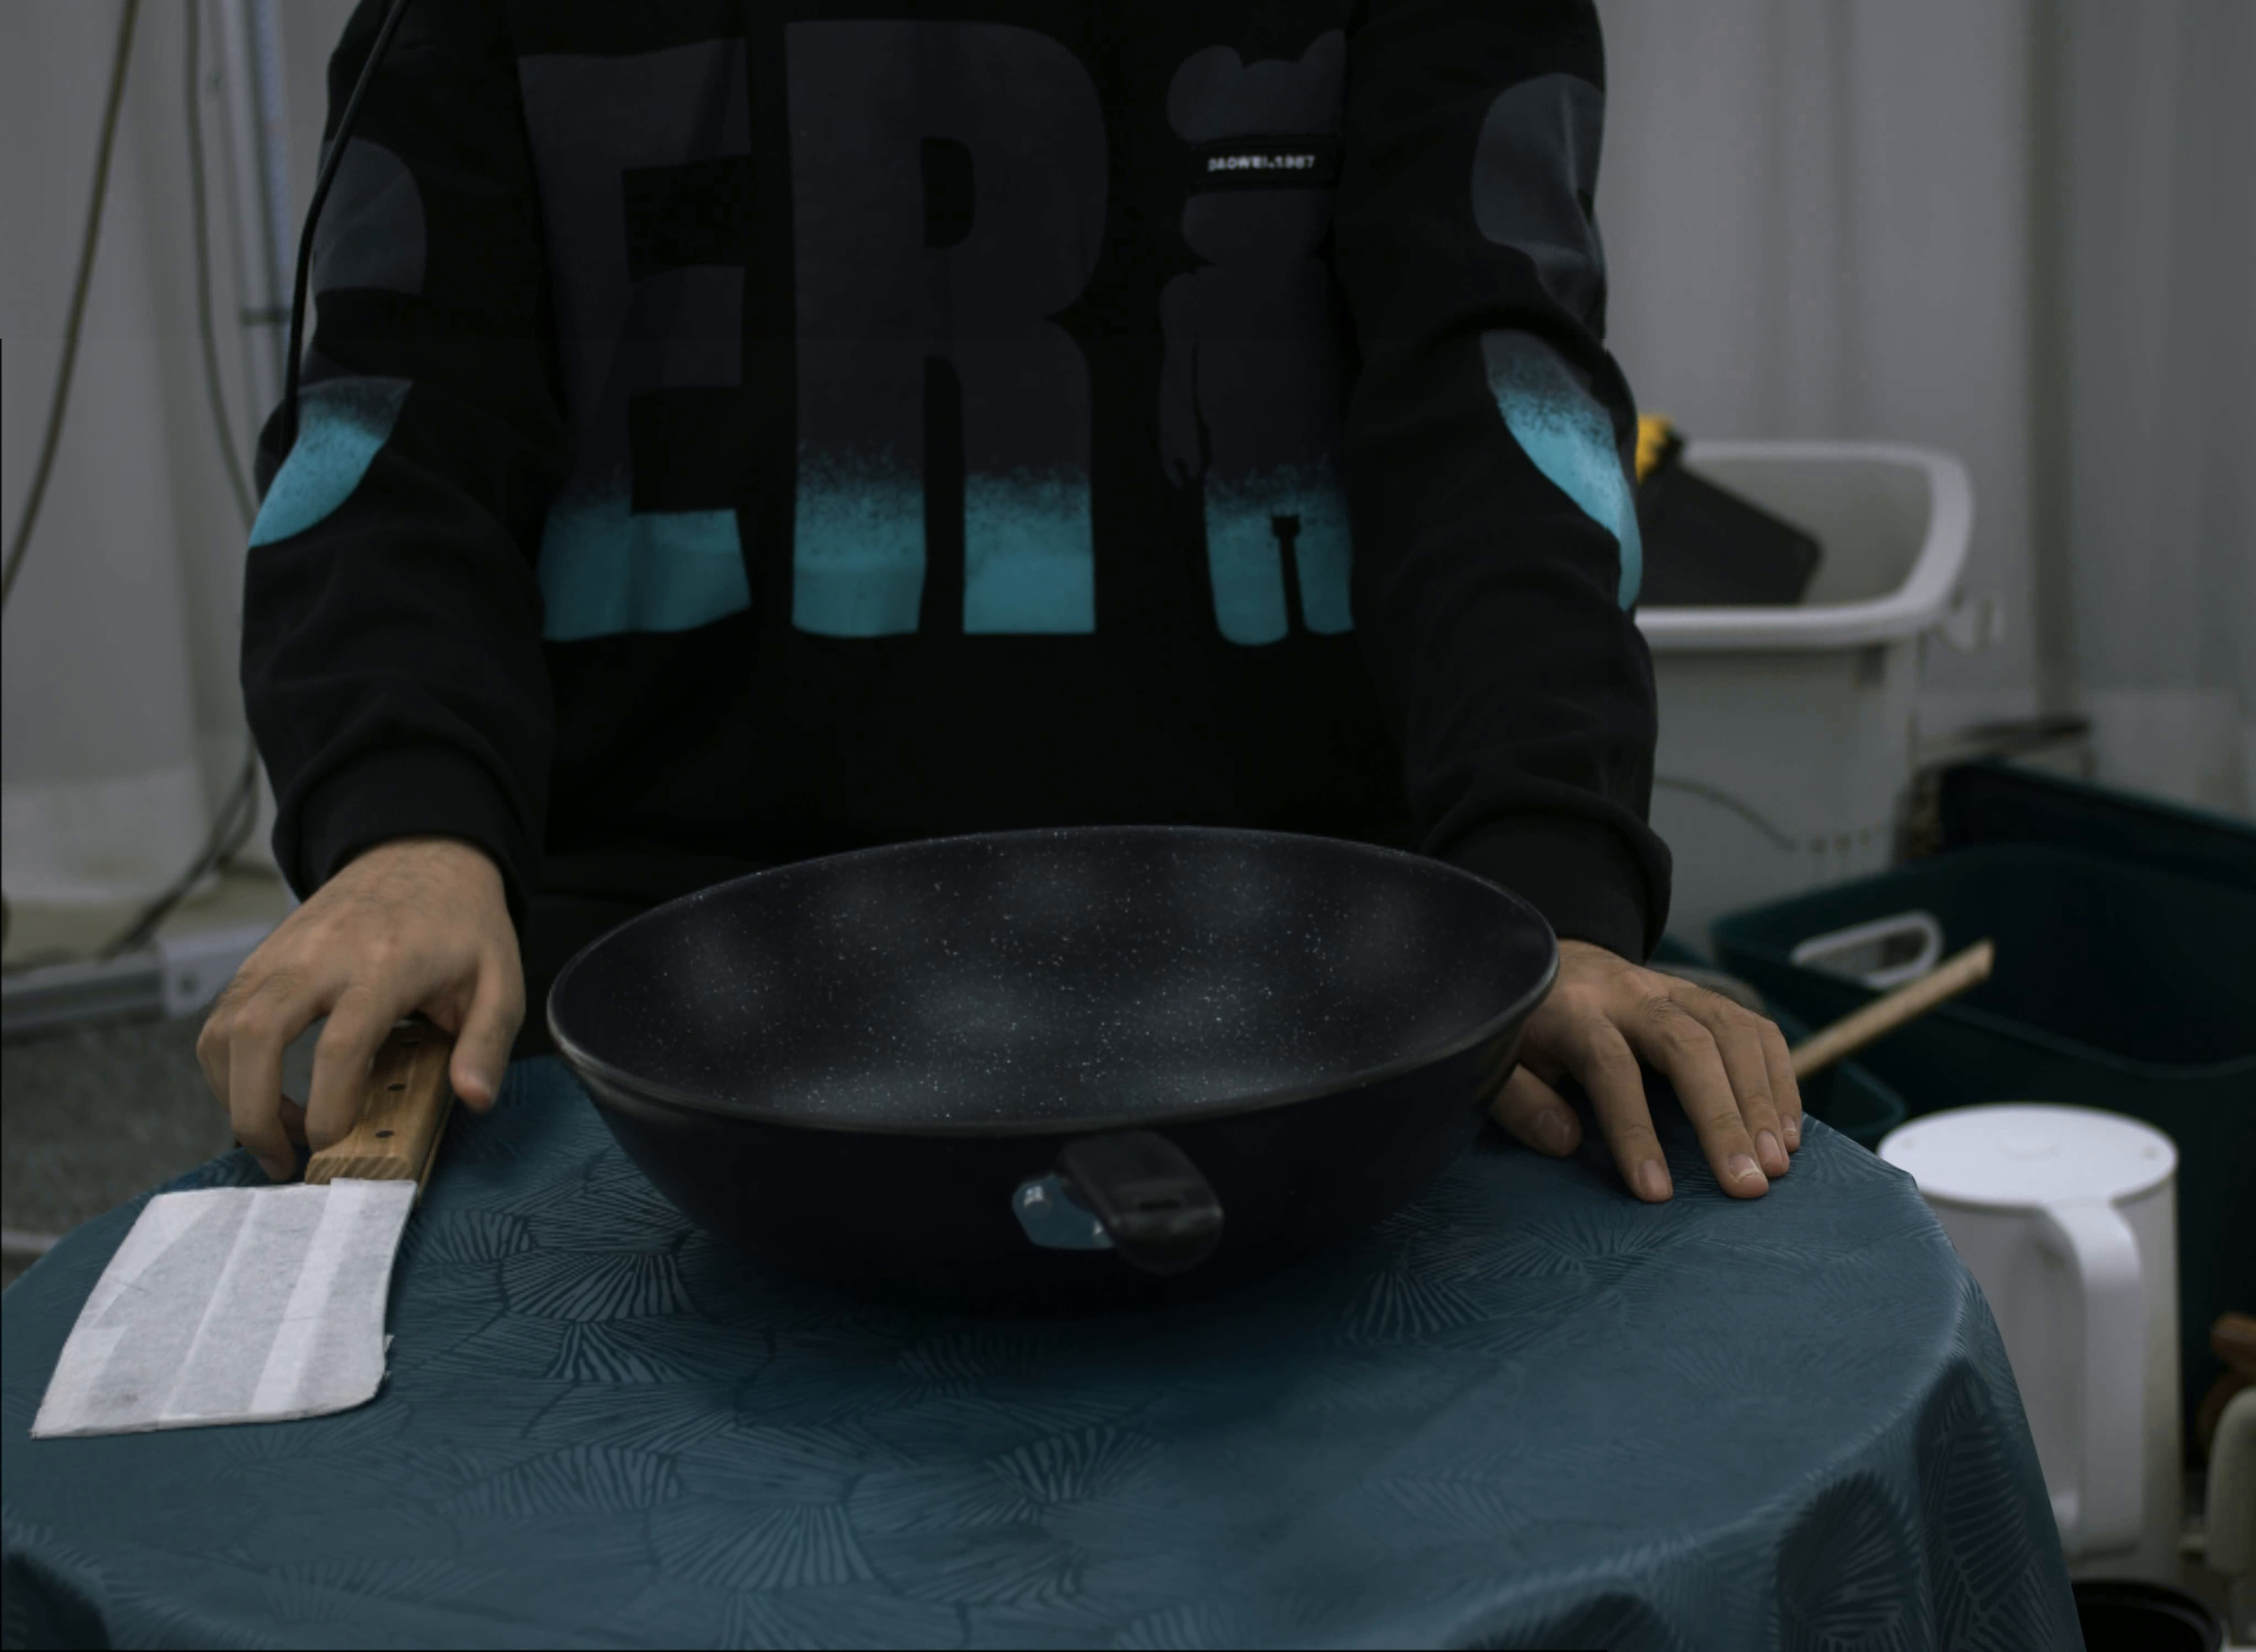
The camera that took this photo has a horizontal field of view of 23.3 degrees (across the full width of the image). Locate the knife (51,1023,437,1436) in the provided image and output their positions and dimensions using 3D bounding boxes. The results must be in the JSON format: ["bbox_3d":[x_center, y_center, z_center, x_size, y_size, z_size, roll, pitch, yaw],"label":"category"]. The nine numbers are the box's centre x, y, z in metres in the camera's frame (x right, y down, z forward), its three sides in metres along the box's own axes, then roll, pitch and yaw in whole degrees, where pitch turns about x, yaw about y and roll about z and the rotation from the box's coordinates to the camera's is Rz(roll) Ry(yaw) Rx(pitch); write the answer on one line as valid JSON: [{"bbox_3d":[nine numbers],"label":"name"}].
[{"bbox_3d":[-0.256,0.124,1.699,0.113,0.021,0.318,-3,17,5],"label":"knife"}]

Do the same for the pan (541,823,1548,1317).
[{"bbox_3d":[-0.014,0.092,1.600,0.309,0.111,0.480,-6,15,-5],"label":"pan"}]
